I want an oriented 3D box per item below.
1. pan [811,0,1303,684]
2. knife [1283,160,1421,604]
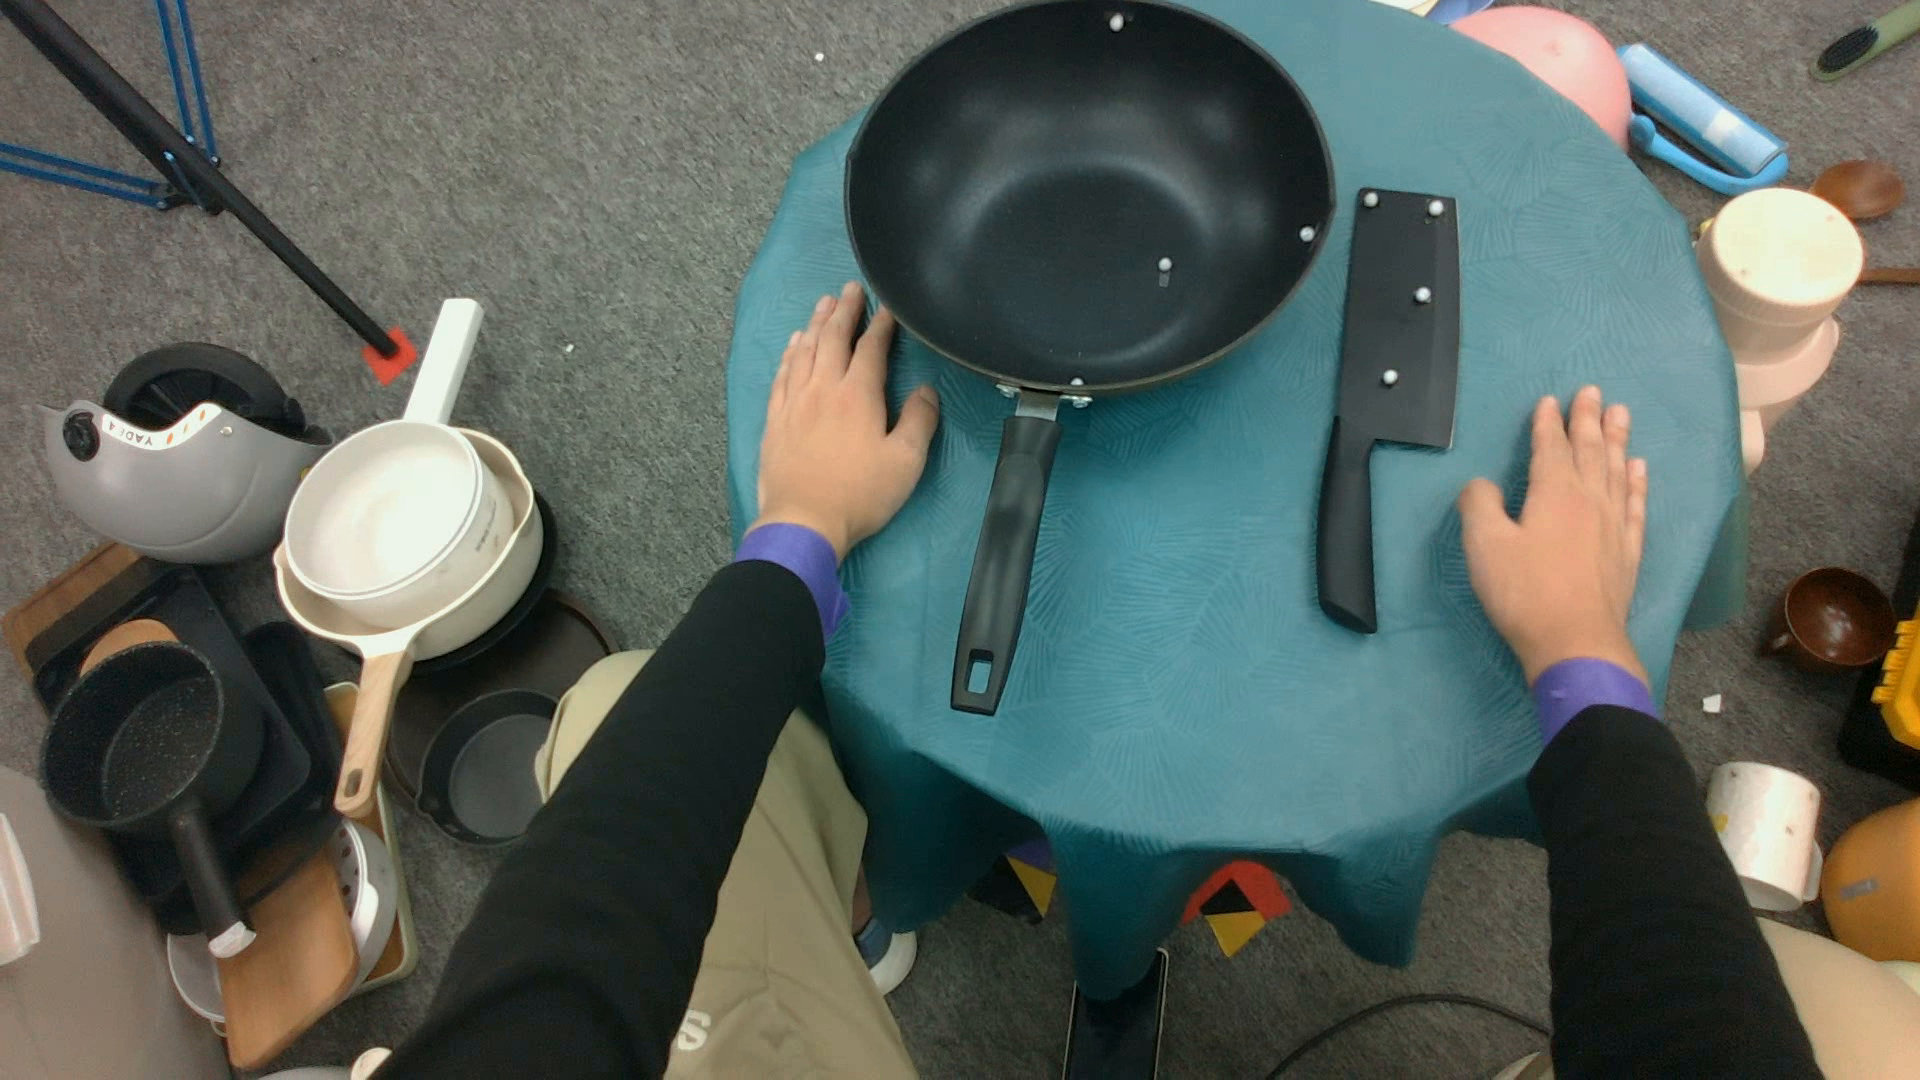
[{"bbox_3d":[0.038,-0.128,0.801,0.288,0.086,0.465,9,69,8],"label":"pan"},{"bbox_3d":[0.232,-0.103,0.813,0.081,0.021,0.303,12,67,8],"label":"knife"}]
